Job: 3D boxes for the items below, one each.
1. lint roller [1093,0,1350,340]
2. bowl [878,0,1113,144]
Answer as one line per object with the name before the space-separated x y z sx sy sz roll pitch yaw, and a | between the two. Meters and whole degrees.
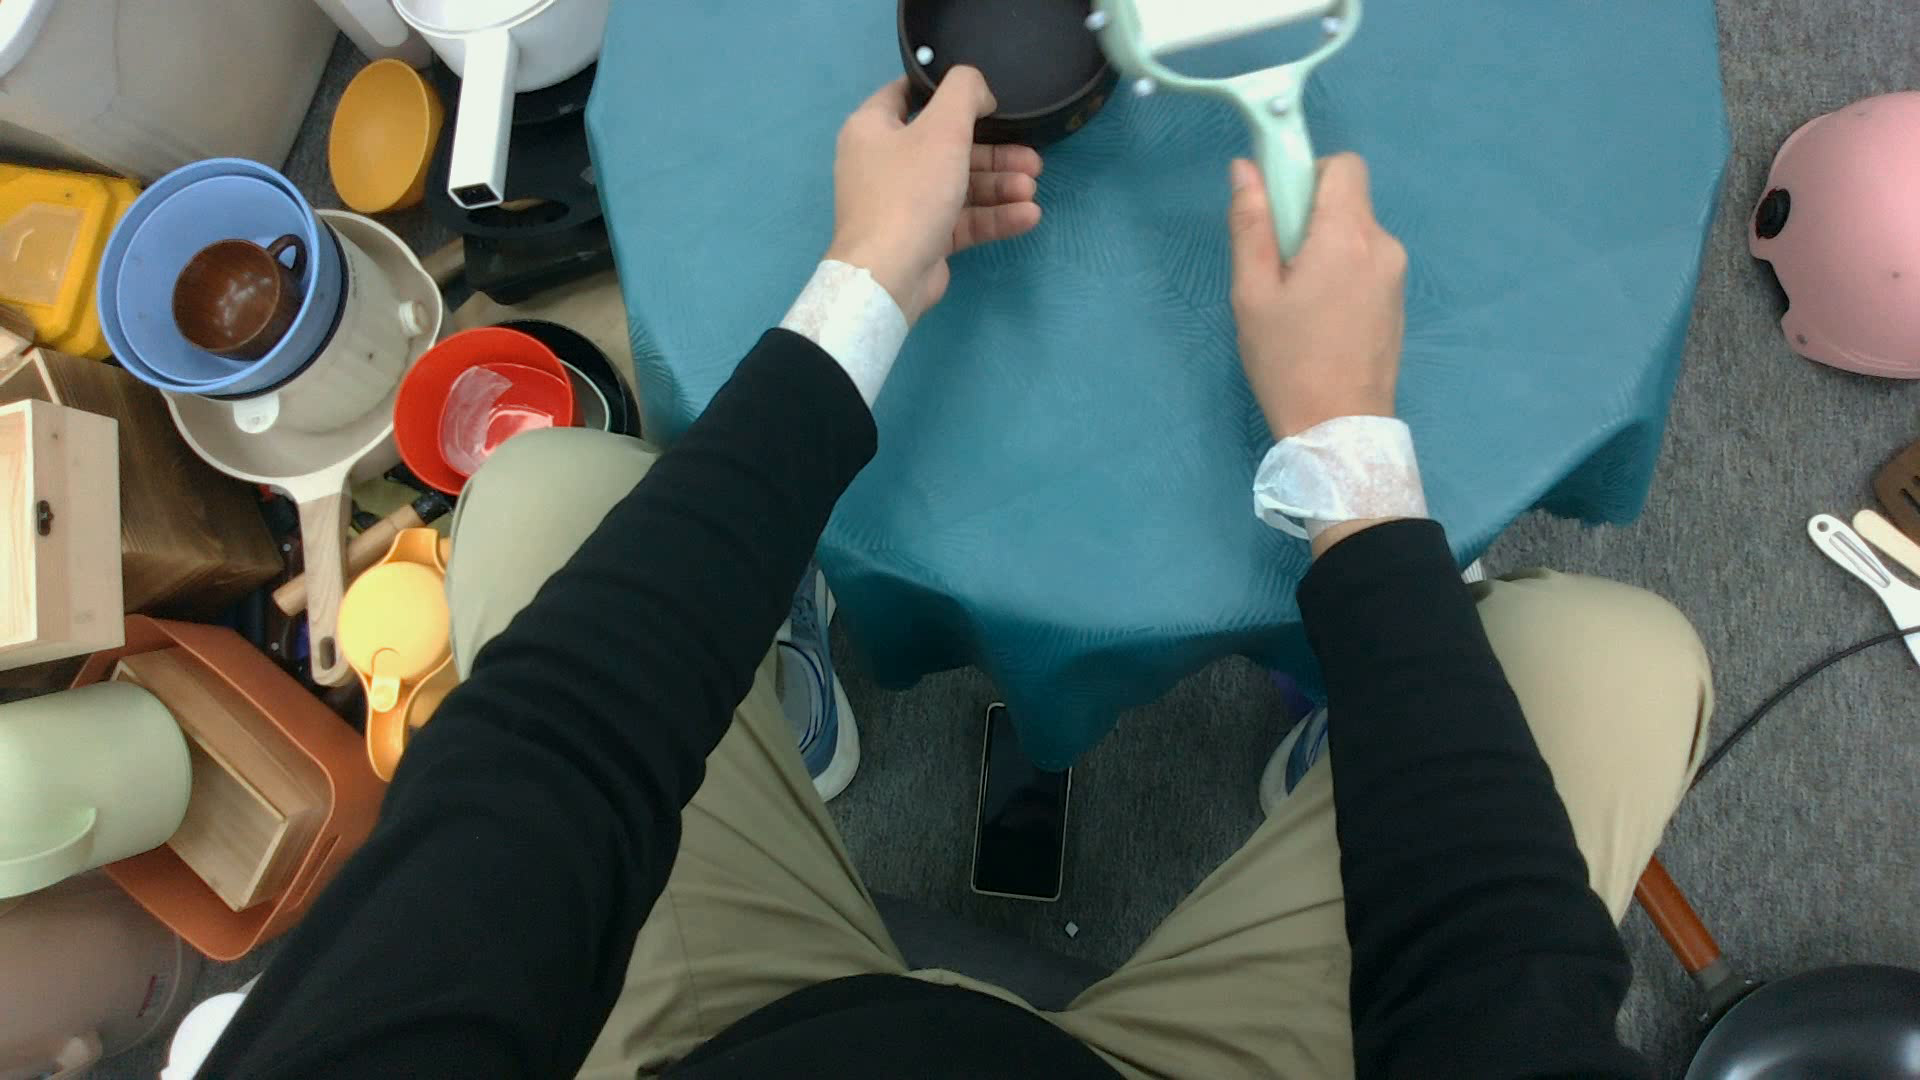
lint roller | 0.138 -0.193 0.657 0.117 0.048 0.197 -13 91 -12
bowl | 0.018 -0.259 0.711 0.118 0.070 0.118 0 81 1
